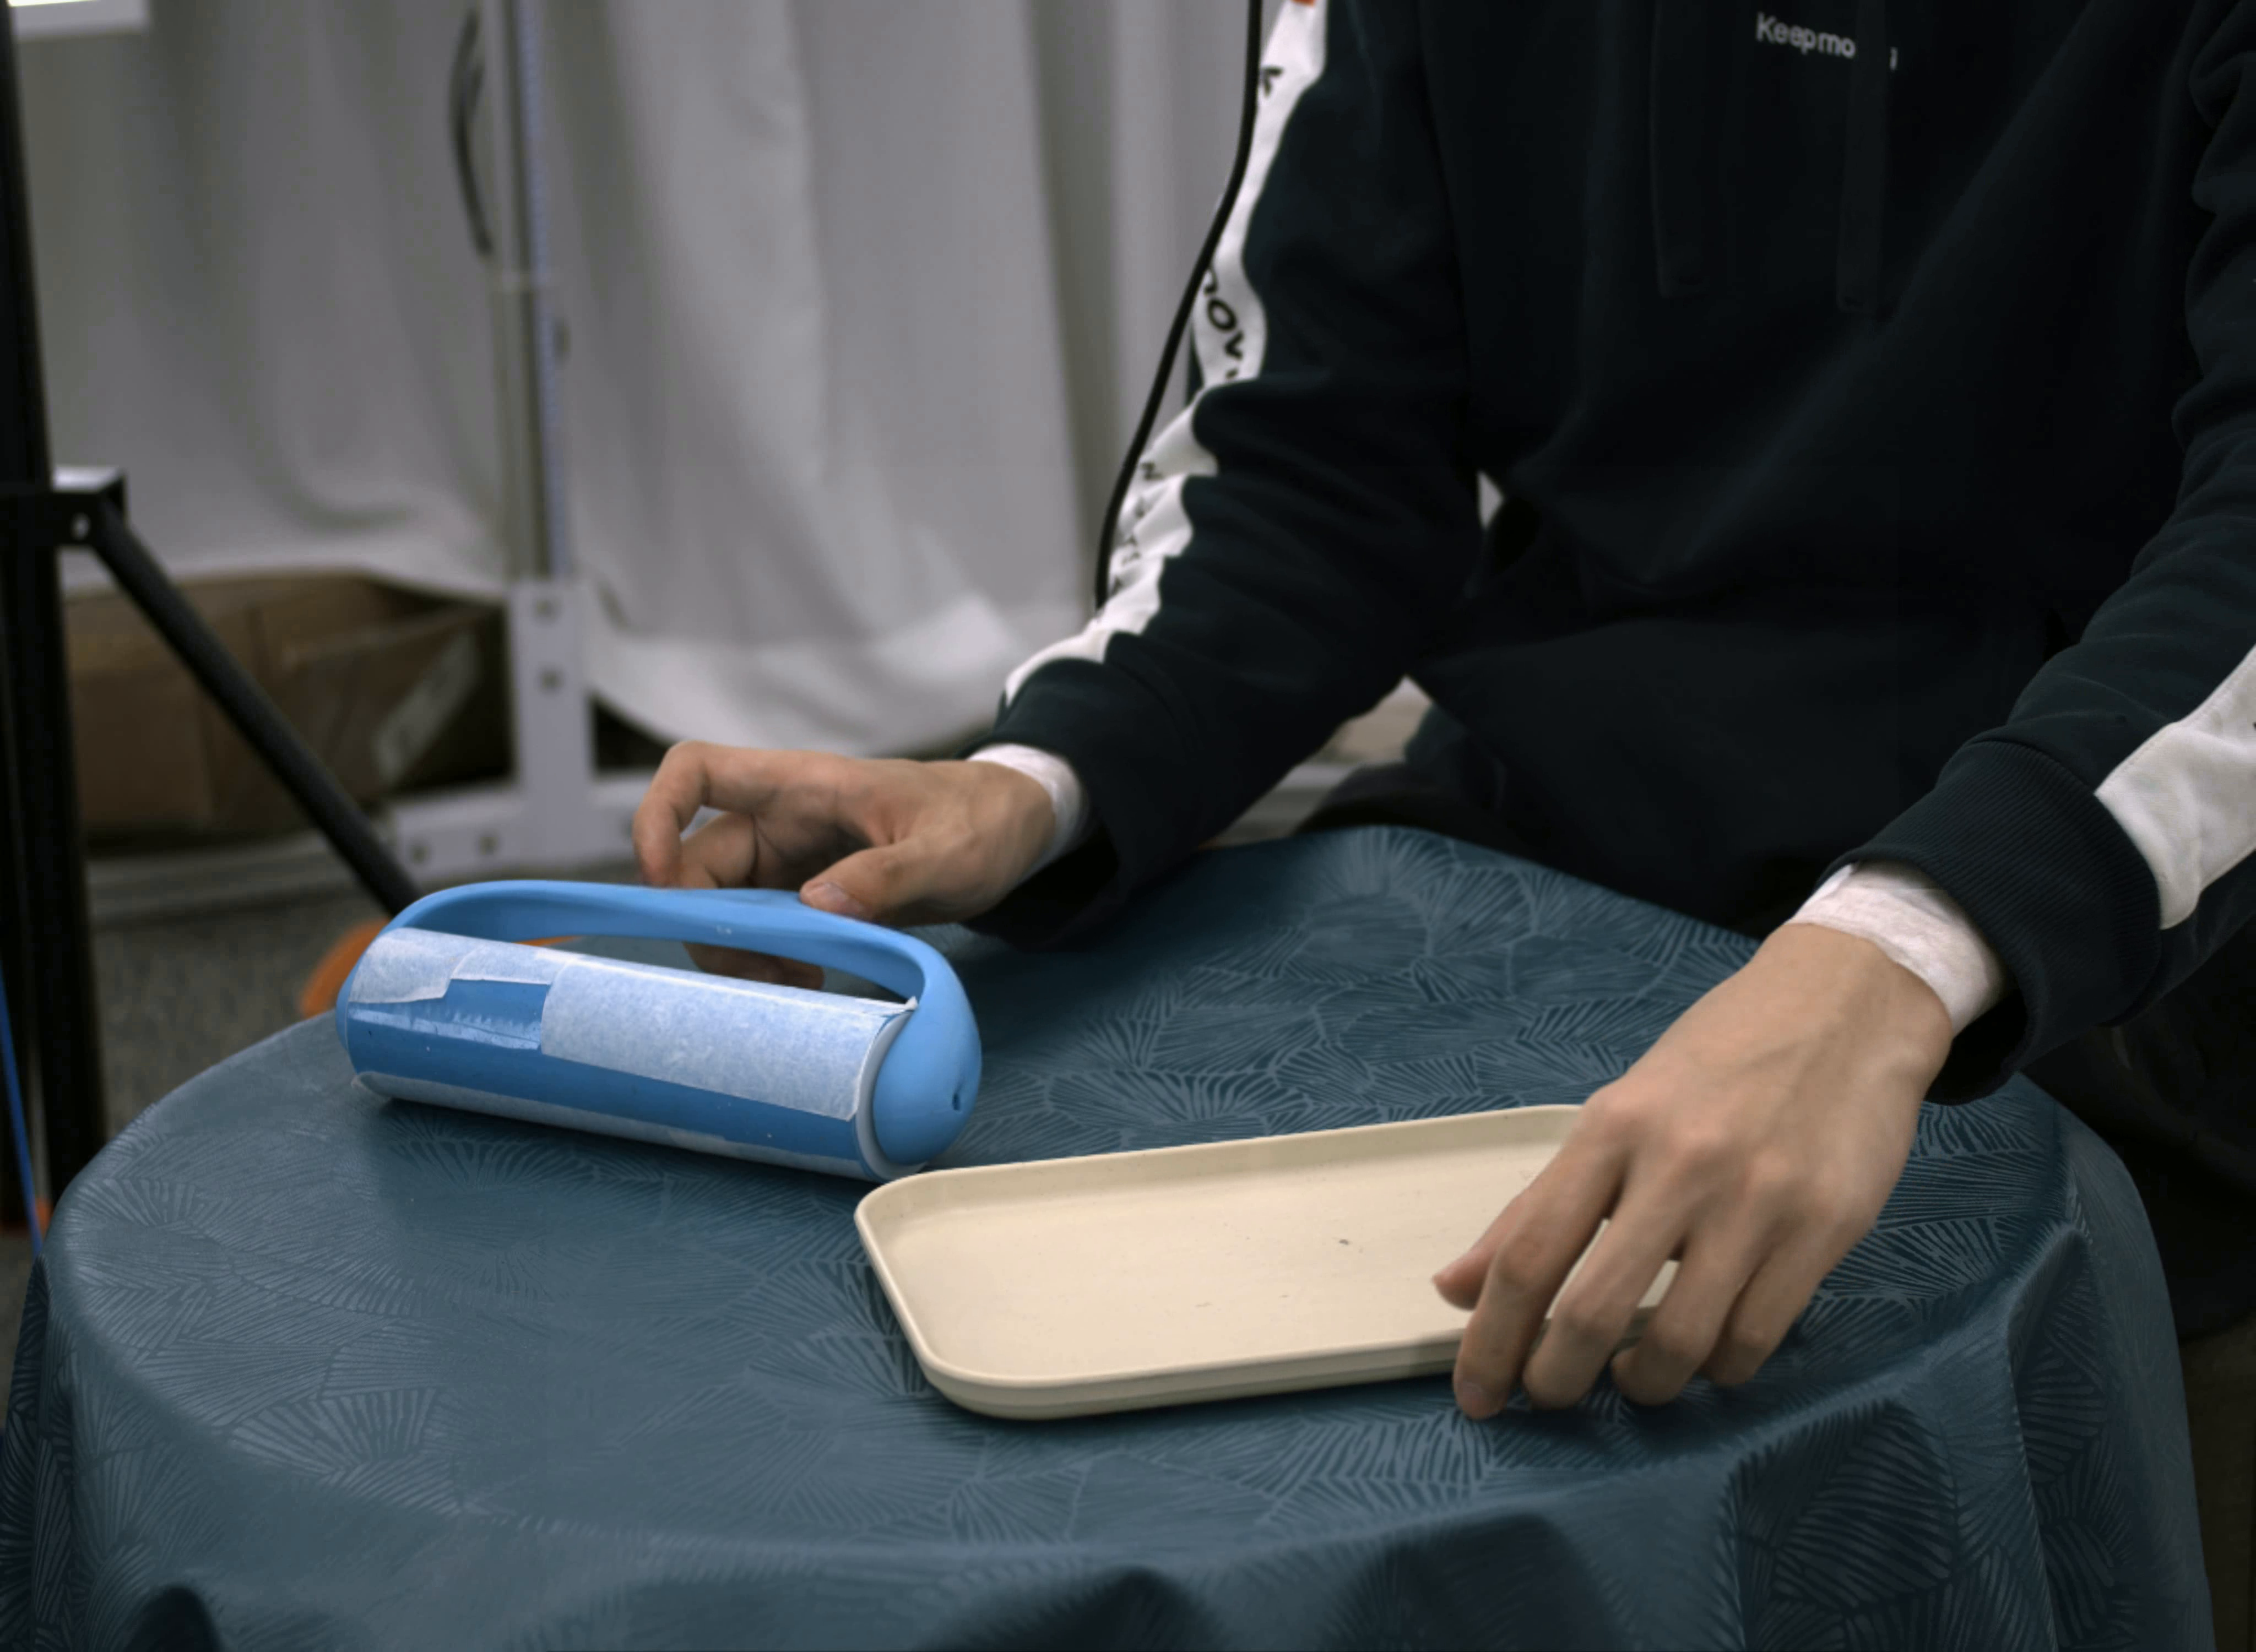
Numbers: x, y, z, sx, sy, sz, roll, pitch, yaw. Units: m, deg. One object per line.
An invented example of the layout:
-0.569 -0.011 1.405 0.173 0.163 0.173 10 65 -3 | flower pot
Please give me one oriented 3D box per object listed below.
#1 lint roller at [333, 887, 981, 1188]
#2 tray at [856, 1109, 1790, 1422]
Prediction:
-0.119 0.053 1.669 0.233 0.068 0.177 5 18 30 | lint roller
0.052 0.122 1.469 0.237 0.017 0.173 -6 16 -9 | tray
